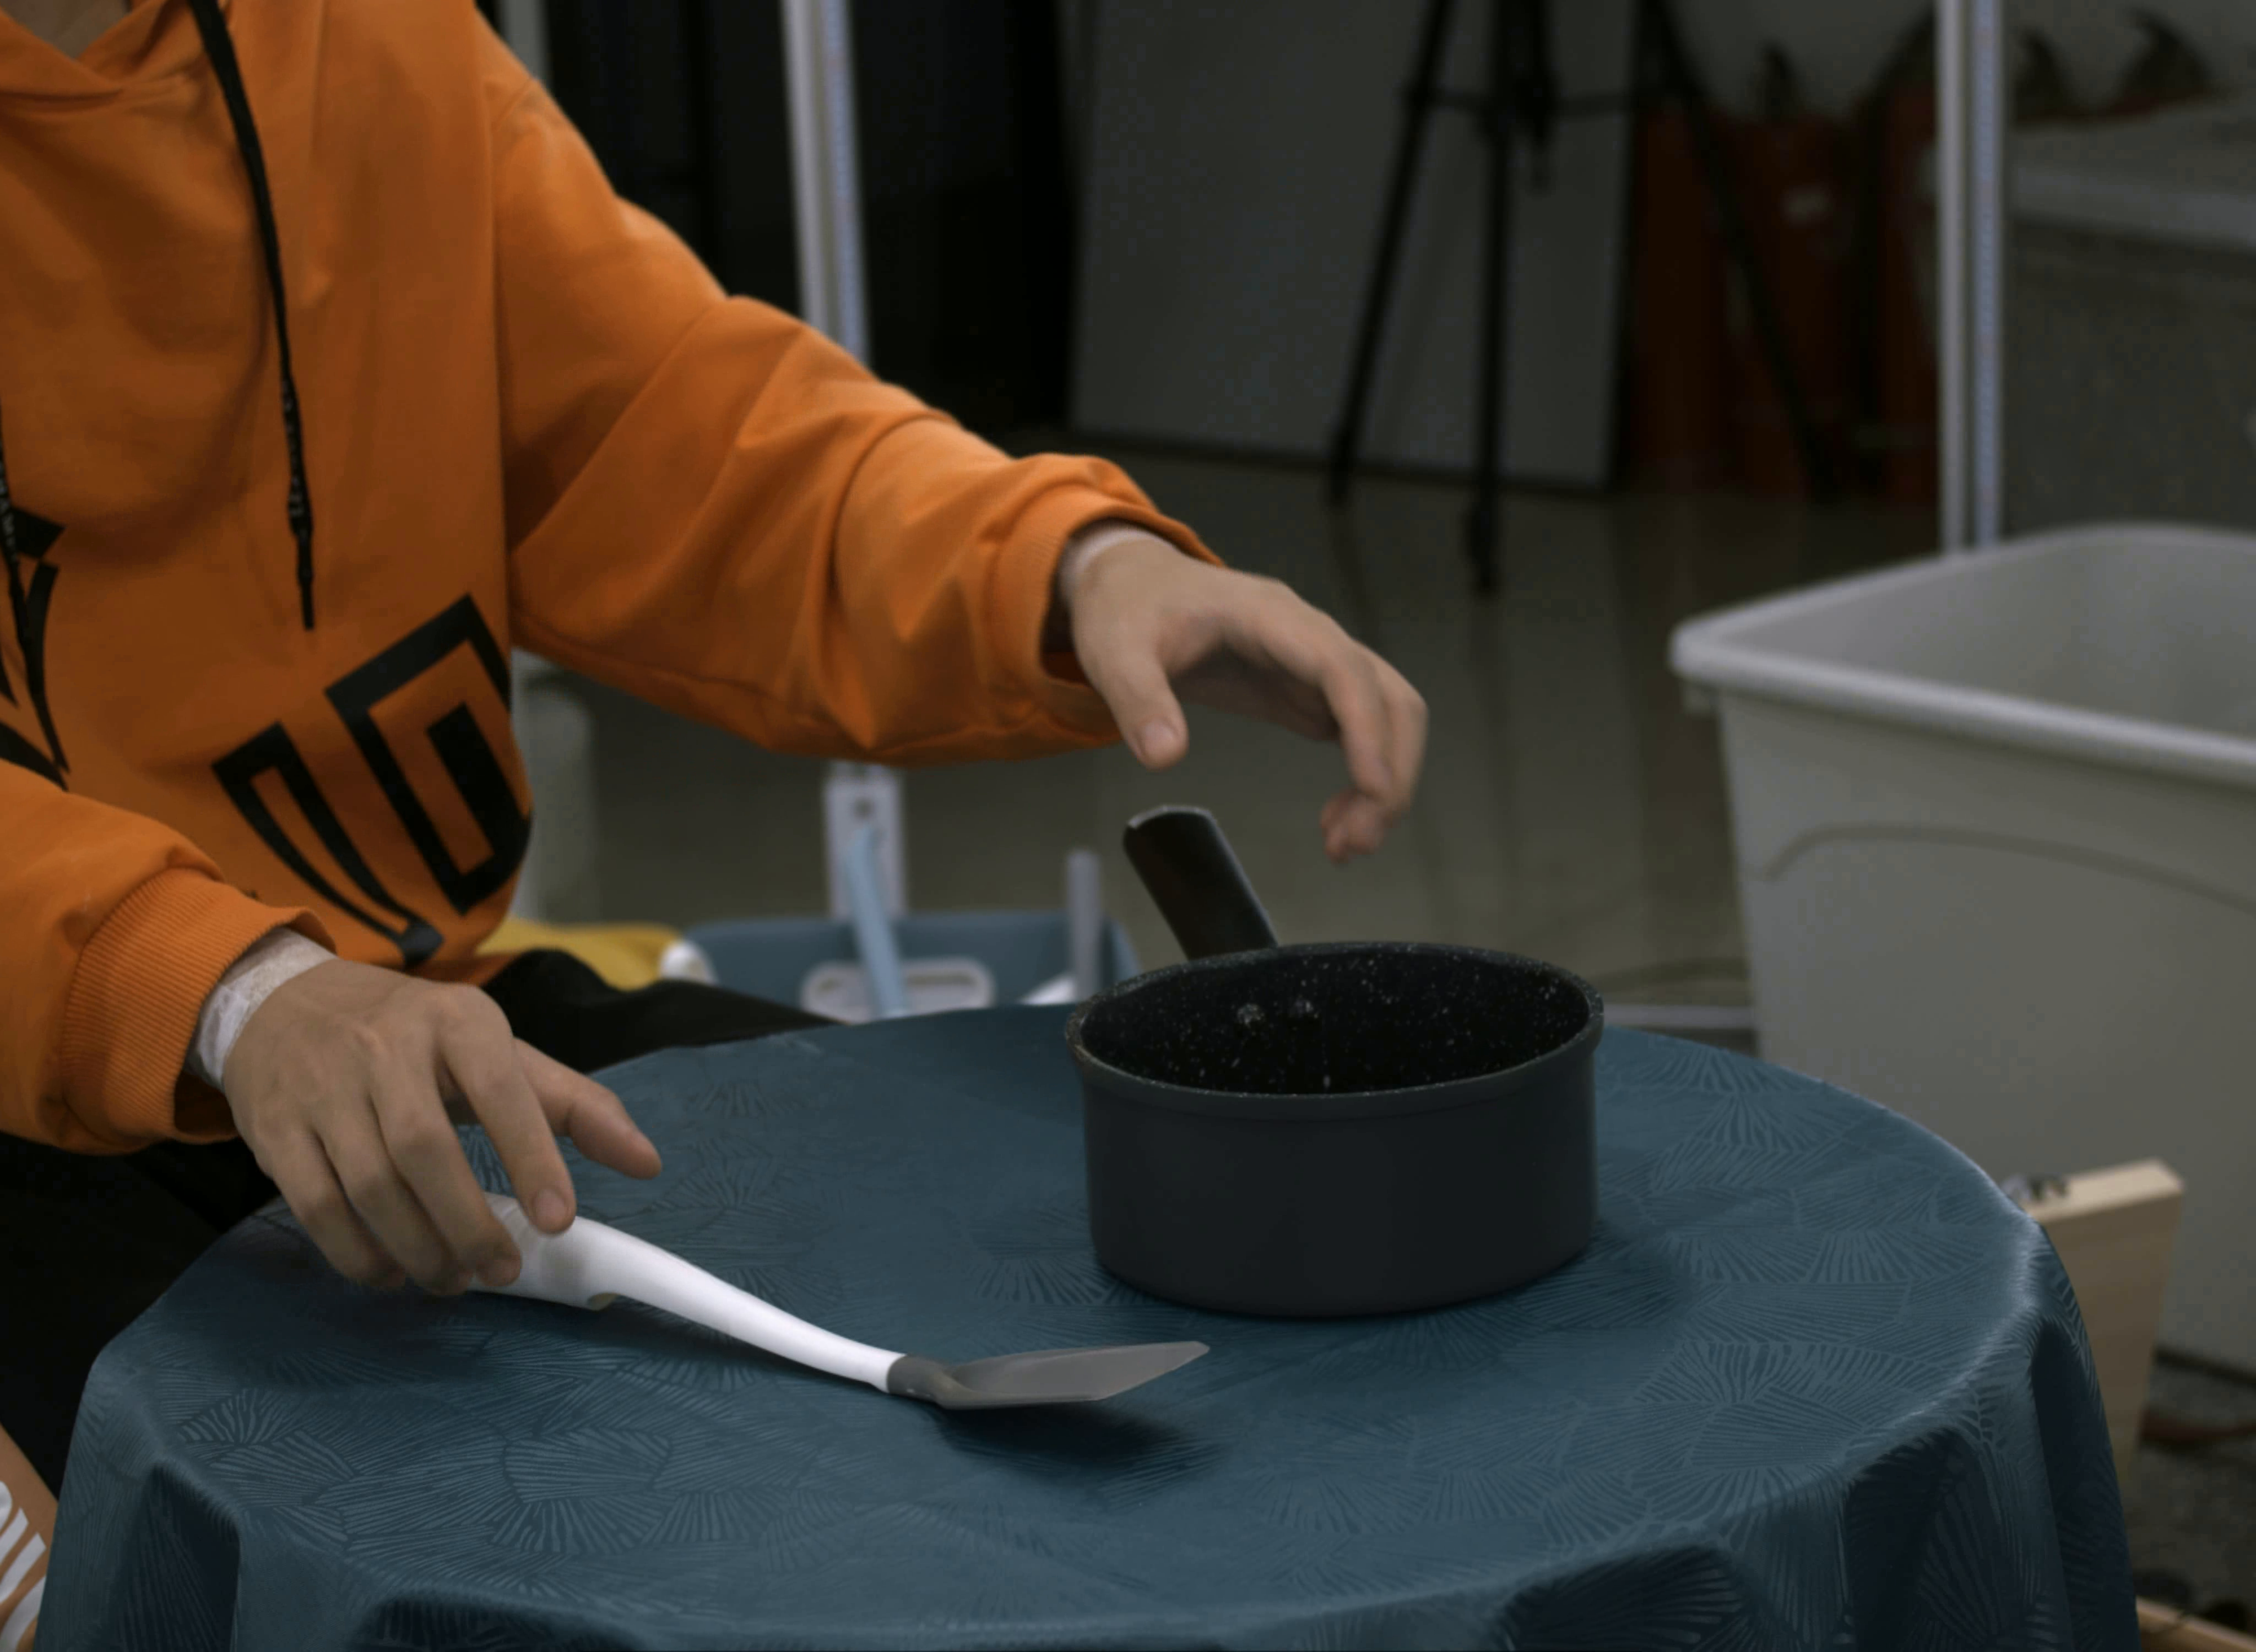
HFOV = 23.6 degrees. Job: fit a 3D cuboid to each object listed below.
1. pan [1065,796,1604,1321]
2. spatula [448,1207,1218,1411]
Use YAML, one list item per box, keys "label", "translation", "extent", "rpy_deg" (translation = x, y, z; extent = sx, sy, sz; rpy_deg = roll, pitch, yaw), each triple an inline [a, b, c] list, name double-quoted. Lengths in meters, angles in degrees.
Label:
- label: "pan"
  translation: [0.053, 0.073, 1.773]
  extent: [0.169, 0.087, 0.330]
  rpy_deg: [-5, 15, -8]
- label: "spatula"
  translation: [-0.094, 0.149, 1.619]
  extent: [0.290, 0.032, 0.057]
  rpy_deg: [7, 13, 40]
